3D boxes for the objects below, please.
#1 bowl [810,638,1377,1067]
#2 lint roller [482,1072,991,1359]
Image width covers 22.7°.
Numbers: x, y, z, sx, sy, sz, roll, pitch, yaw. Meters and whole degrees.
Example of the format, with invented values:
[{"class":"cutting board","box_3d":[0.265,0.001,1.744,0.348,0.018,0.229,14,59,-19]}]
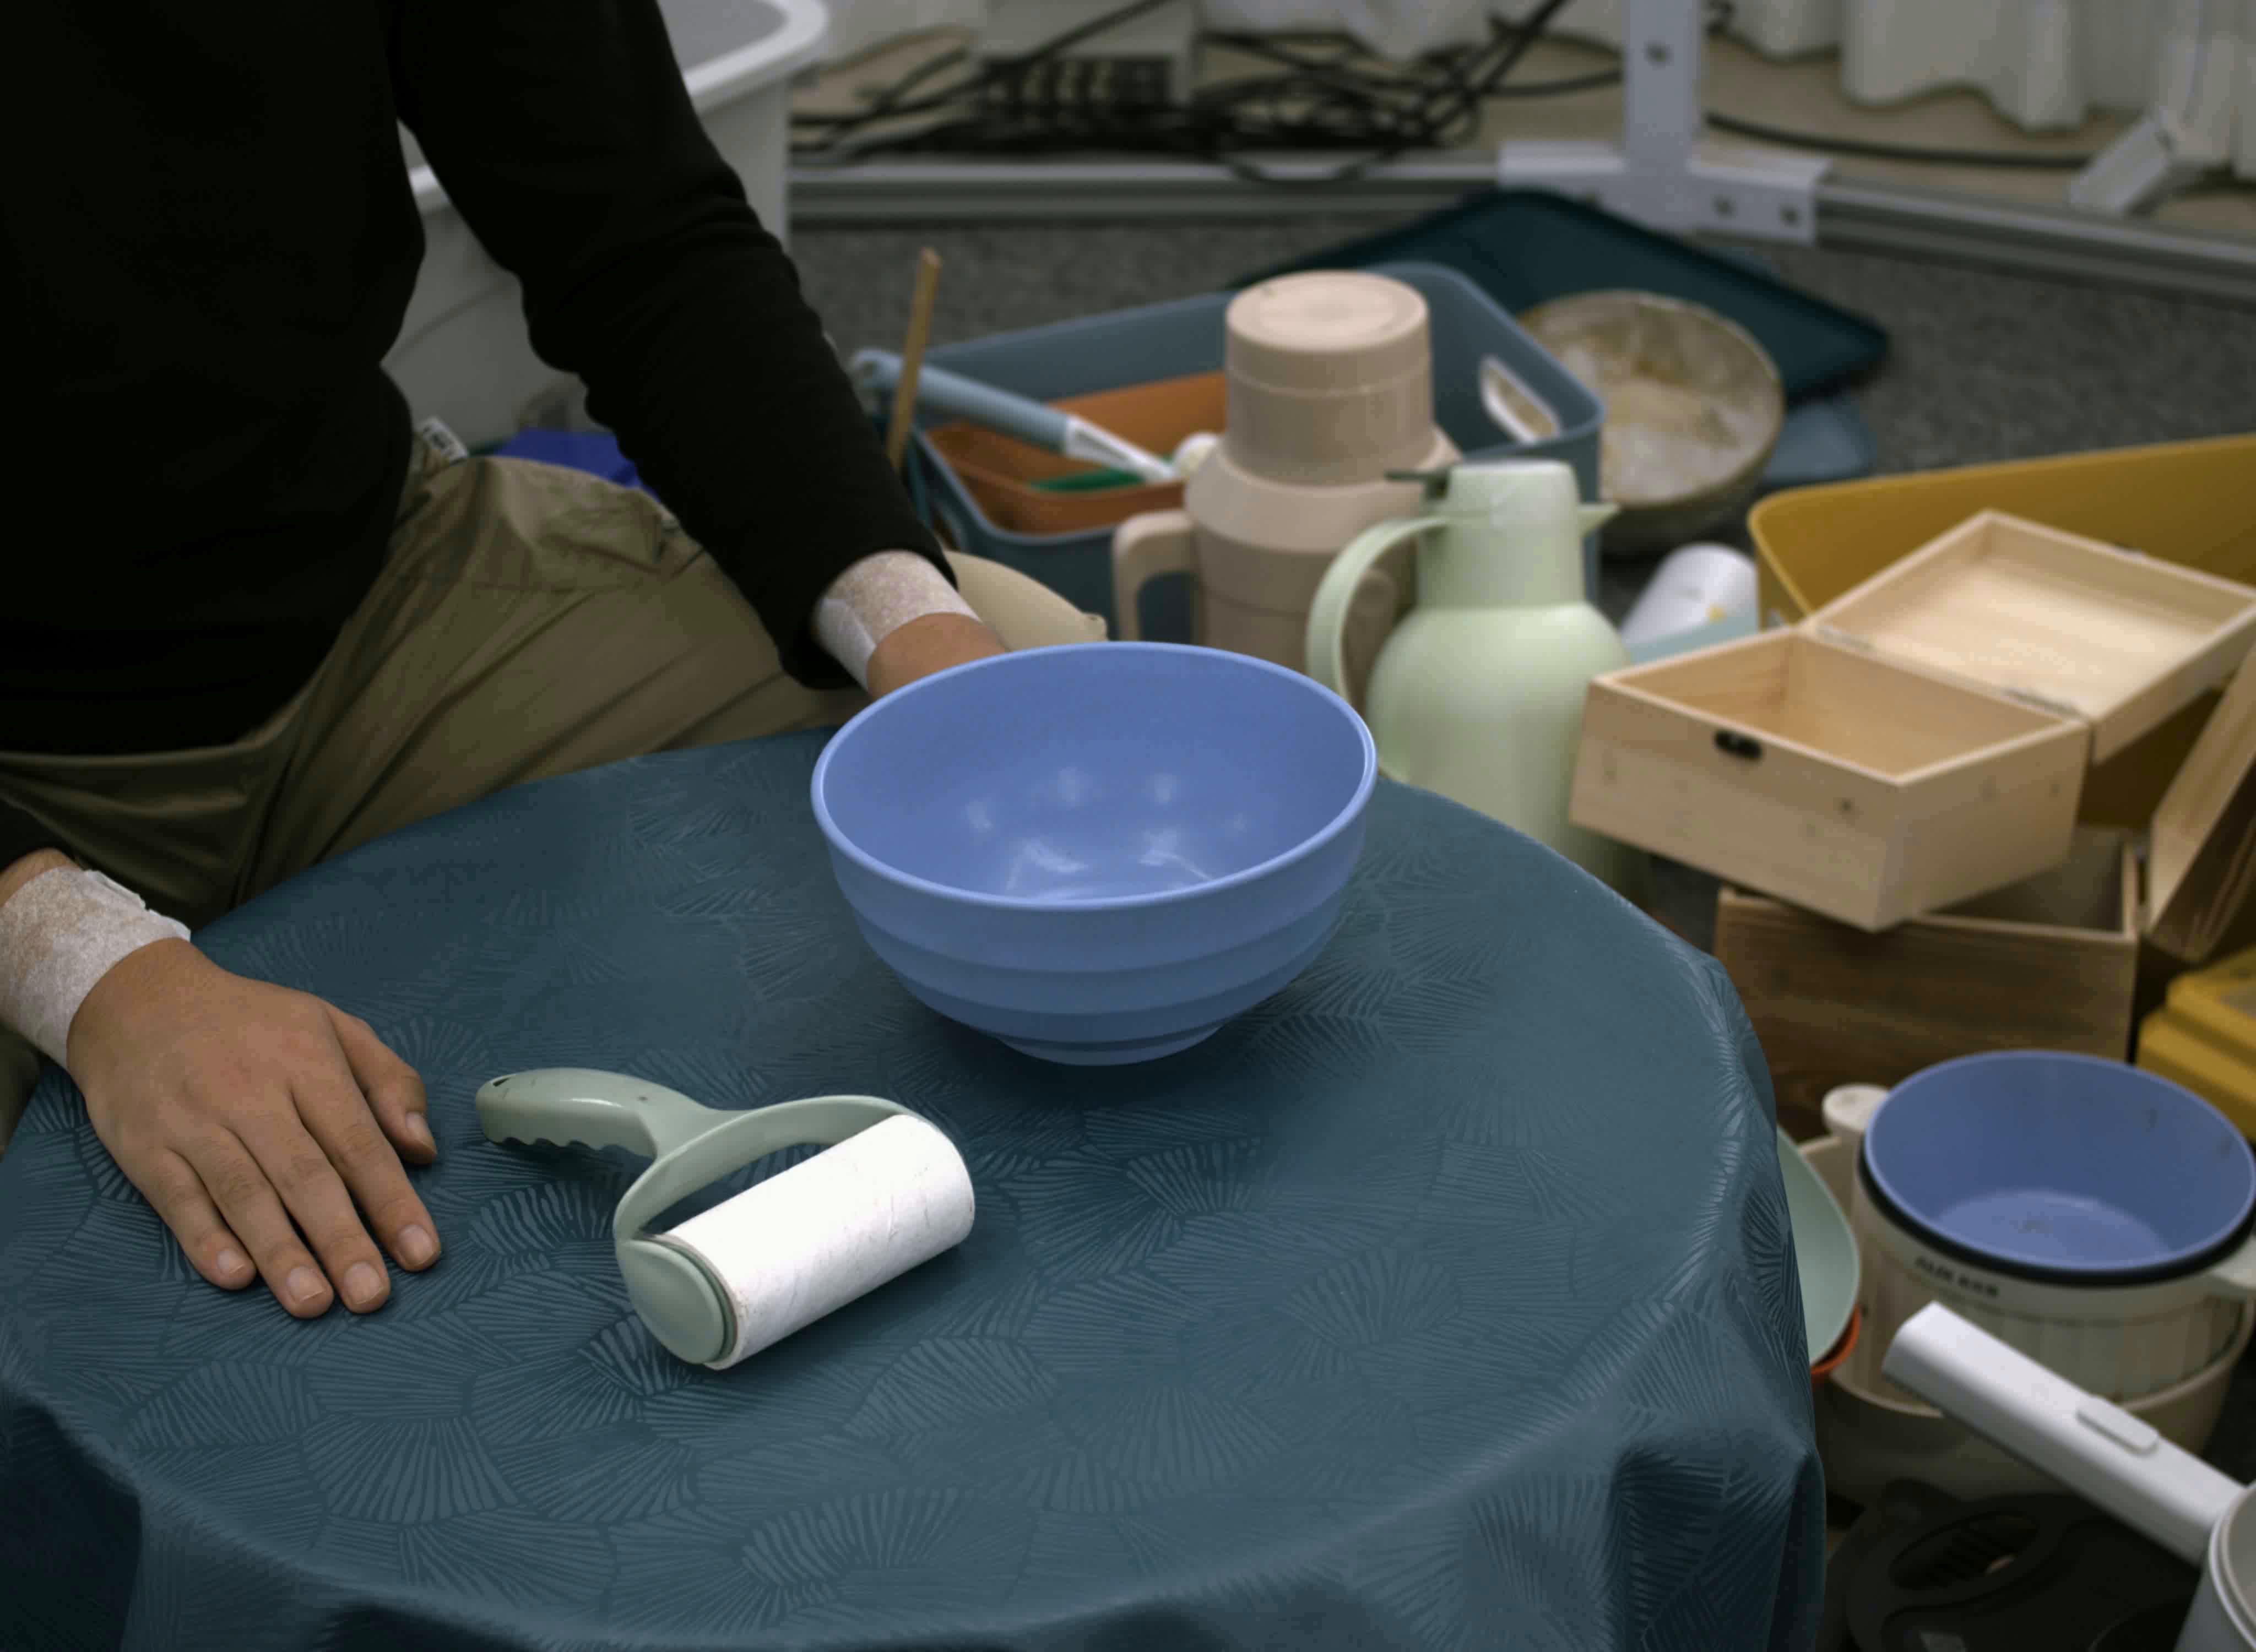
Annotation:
[{"class":"bowl","box_3d":[-0.009,0.020,1.955,0.195,0.094,0.199,-3,28,2]},{"class":"lint roller","box_3d":[-0.146,0.109,1.853,0.118,0.048,0.197,-27,35,-36]}]
